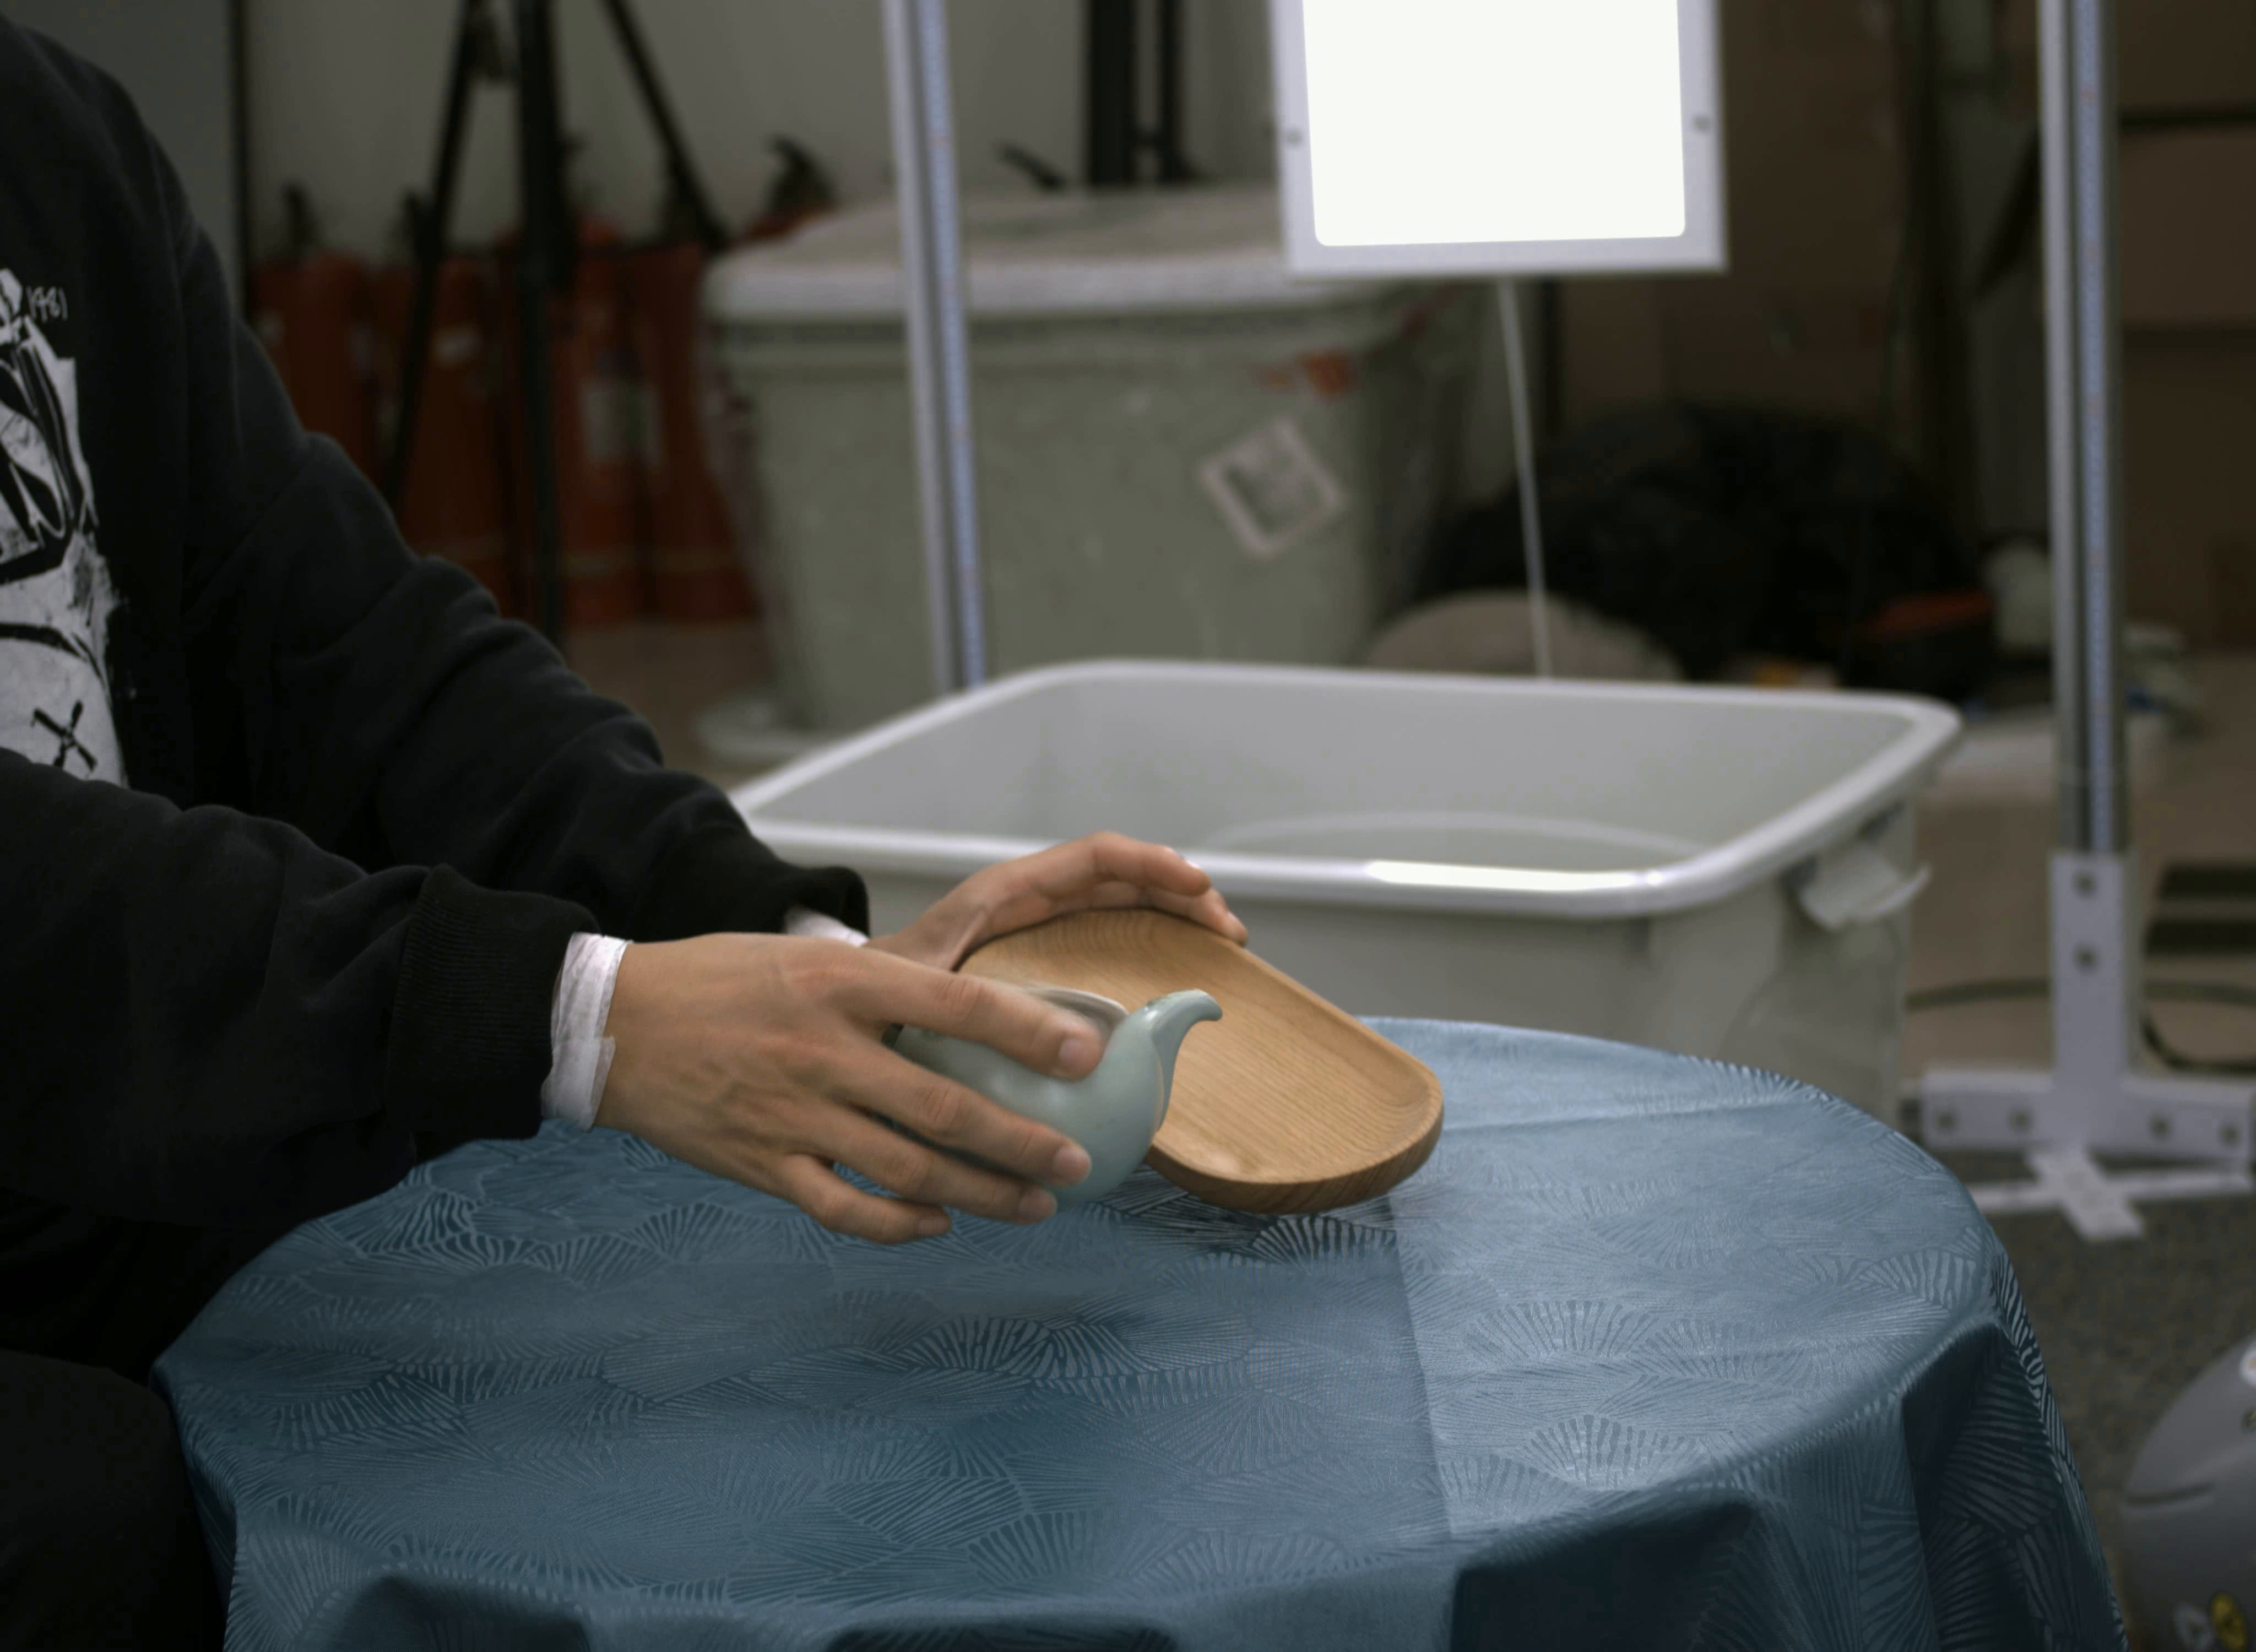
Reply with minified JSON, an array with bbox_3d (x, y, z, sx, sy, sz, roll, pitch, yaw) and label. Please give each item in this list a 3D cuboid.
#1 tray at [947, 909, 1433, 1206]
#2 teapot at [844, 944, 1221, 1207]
[{"bbox_3d":[0.019,0.079,1.917,0.099,0.020,0.235,-20,27,-26],"label":"tray"},{"bbox_3d":[-0.033,0.081,1.760,0.140,0.075,0.090,10,5,-35],"label":"teapot"}]
